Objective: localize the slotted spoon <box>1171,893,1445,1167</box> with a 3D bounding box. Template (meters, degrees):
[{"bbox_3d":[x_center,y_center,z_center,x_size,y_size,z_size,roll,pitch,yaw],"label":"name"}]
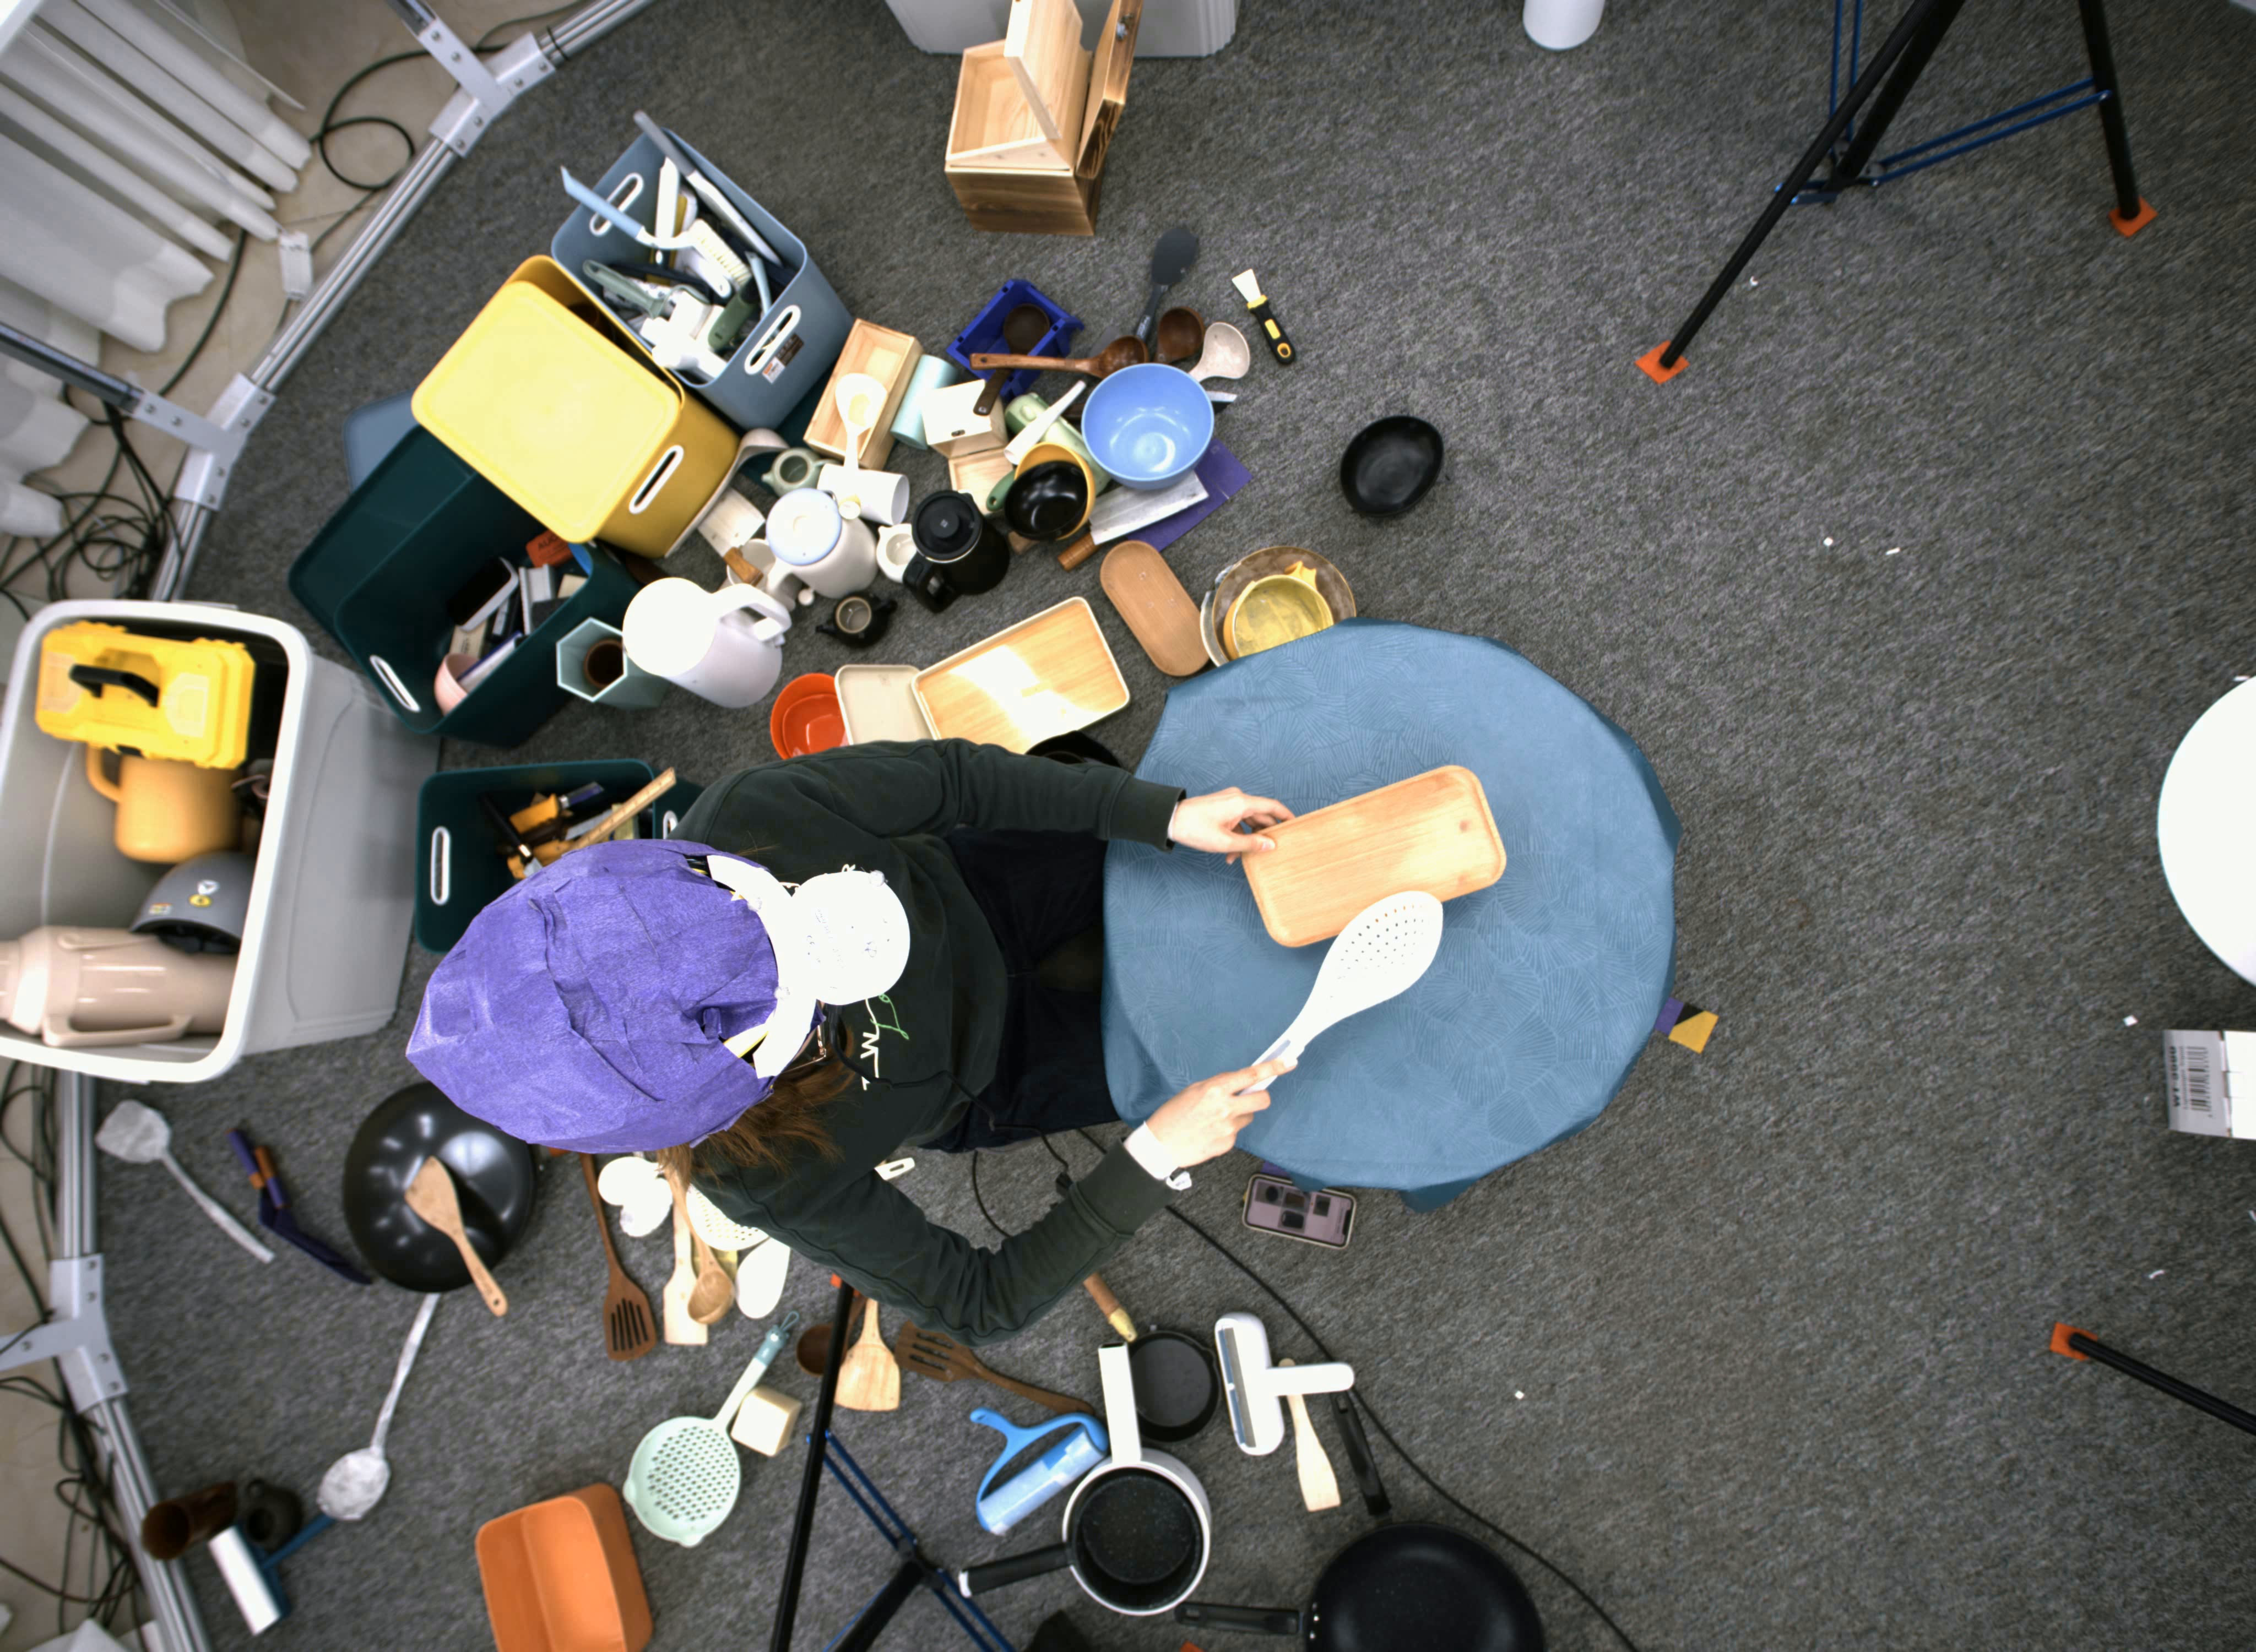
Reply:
[{"bbox_3d":[0.171,0.195,1.320,0.349,0.135,0.046,-40,111,-2],"label":"slotted spoon"}]

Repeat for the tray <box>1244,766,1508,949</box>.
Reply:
[{"bbox_3d":[0.247,0.032,1.386,0.253,0.022,0.131,-19,95,18],"label":"tray"}]
